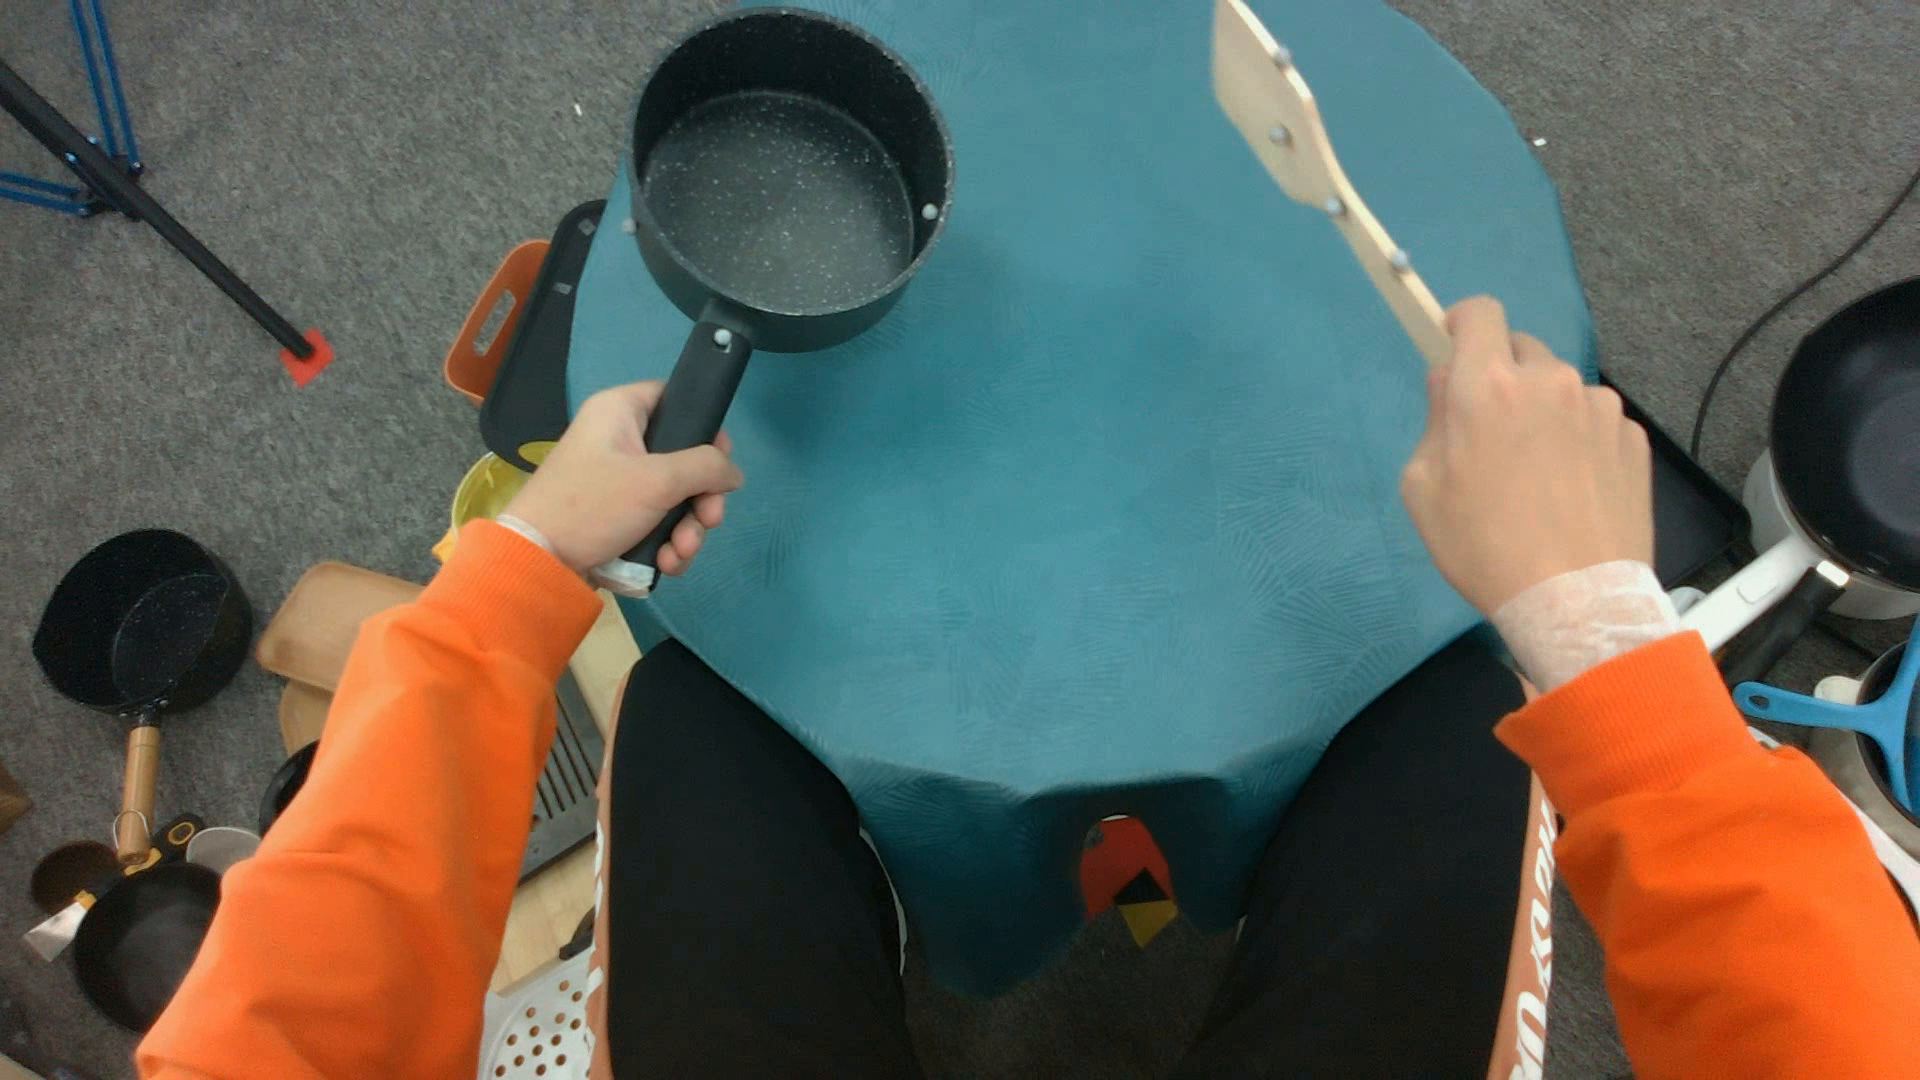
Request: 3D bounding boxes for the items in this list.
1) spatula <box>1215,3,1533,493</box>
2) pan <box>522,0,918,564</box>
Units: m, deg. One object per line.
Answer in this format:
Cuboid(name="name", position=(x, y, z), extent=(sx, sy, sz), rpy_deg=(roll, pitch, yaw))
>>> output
Cuboid(name="spatula", position=(0.185, -0.140, 0.640), extent=(0.010, 0.072, 0.294), rpy_deg=(-22, 59, -2))
Cuboid(name="pan", position=(-0.139, -0.131, 0.719), extent=(0.172, 0.086, 0.330), rpy_deg=(23, 71, -8))
